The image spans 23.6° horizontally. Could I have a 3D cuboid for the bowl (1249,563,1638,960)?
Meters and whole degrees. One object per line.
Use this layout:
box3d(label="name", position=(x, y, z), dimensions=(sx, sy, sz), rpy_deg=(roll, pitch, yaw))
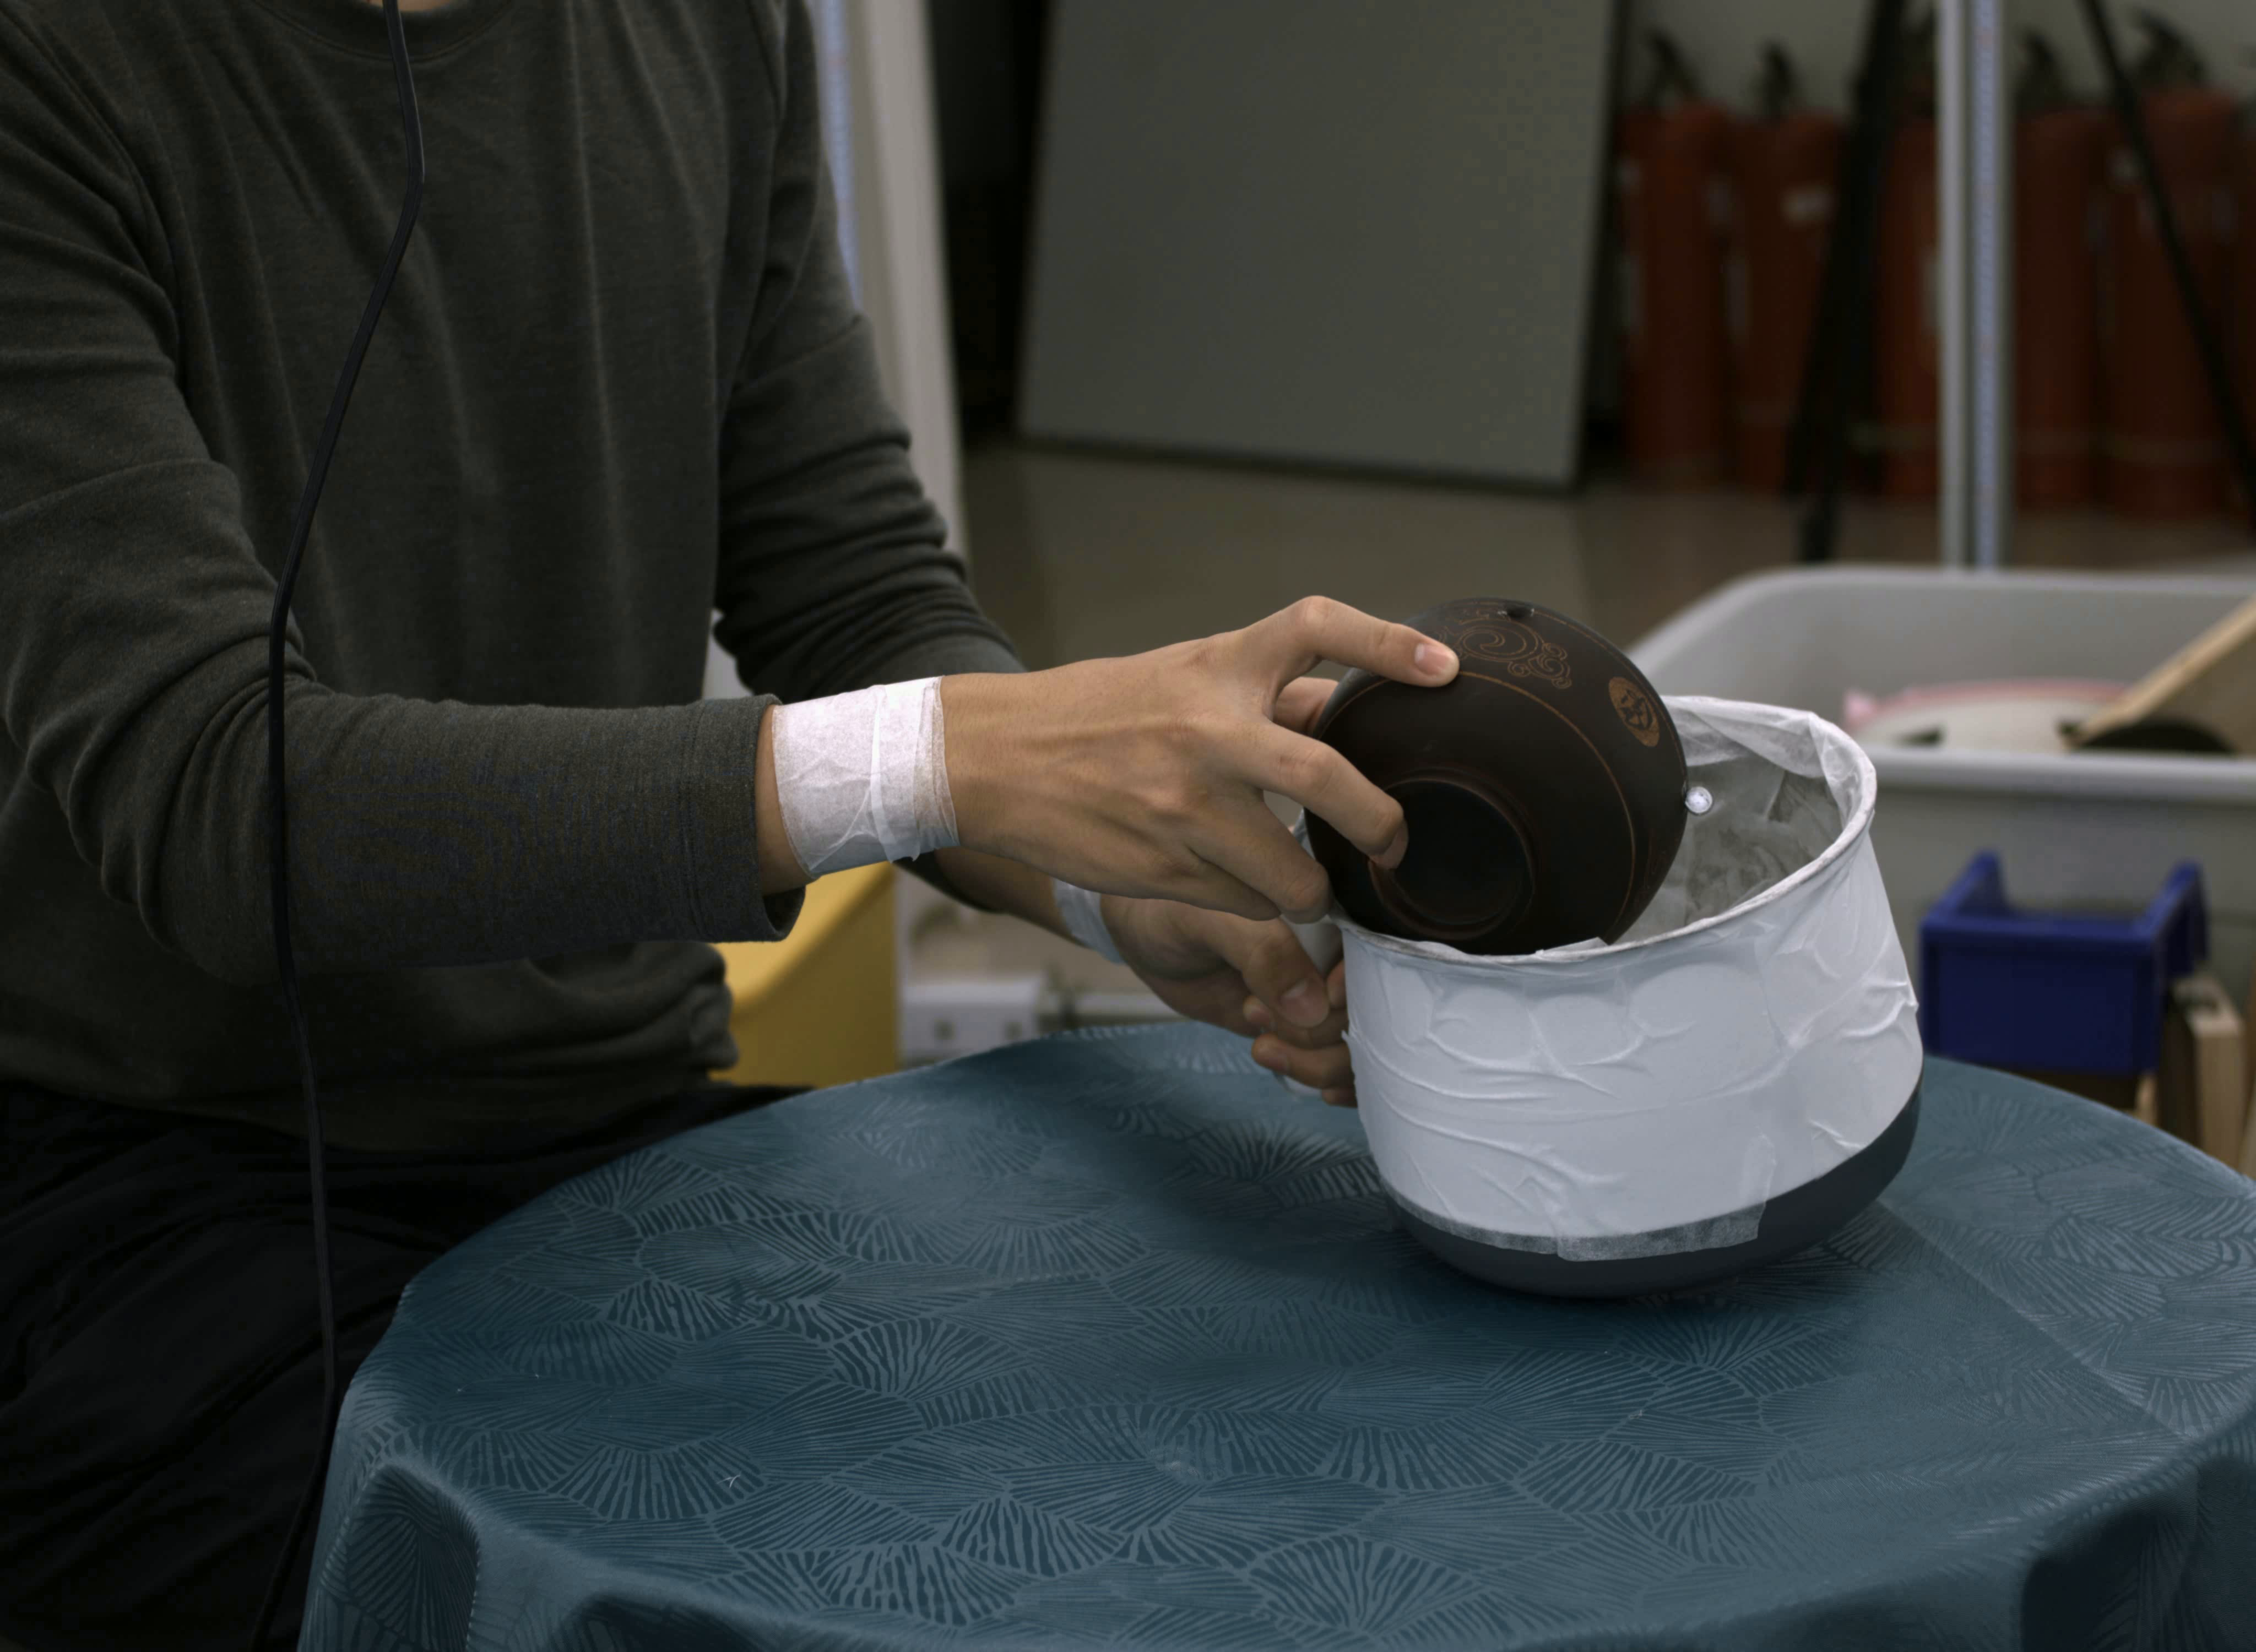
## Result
box3d(label="bowl", position=(0.091, -0.012, 1.613), dimensions=(0.118, 0.119, 0.069), rpy_deg=(1, 25, 18))

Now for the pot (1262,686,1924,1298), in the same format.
box3d(label="pot", position=(0.134, 0.051, 1.687), dimensions=(0.235, 0.137, 0.176), rpy_deg=(7, 30, 40))
